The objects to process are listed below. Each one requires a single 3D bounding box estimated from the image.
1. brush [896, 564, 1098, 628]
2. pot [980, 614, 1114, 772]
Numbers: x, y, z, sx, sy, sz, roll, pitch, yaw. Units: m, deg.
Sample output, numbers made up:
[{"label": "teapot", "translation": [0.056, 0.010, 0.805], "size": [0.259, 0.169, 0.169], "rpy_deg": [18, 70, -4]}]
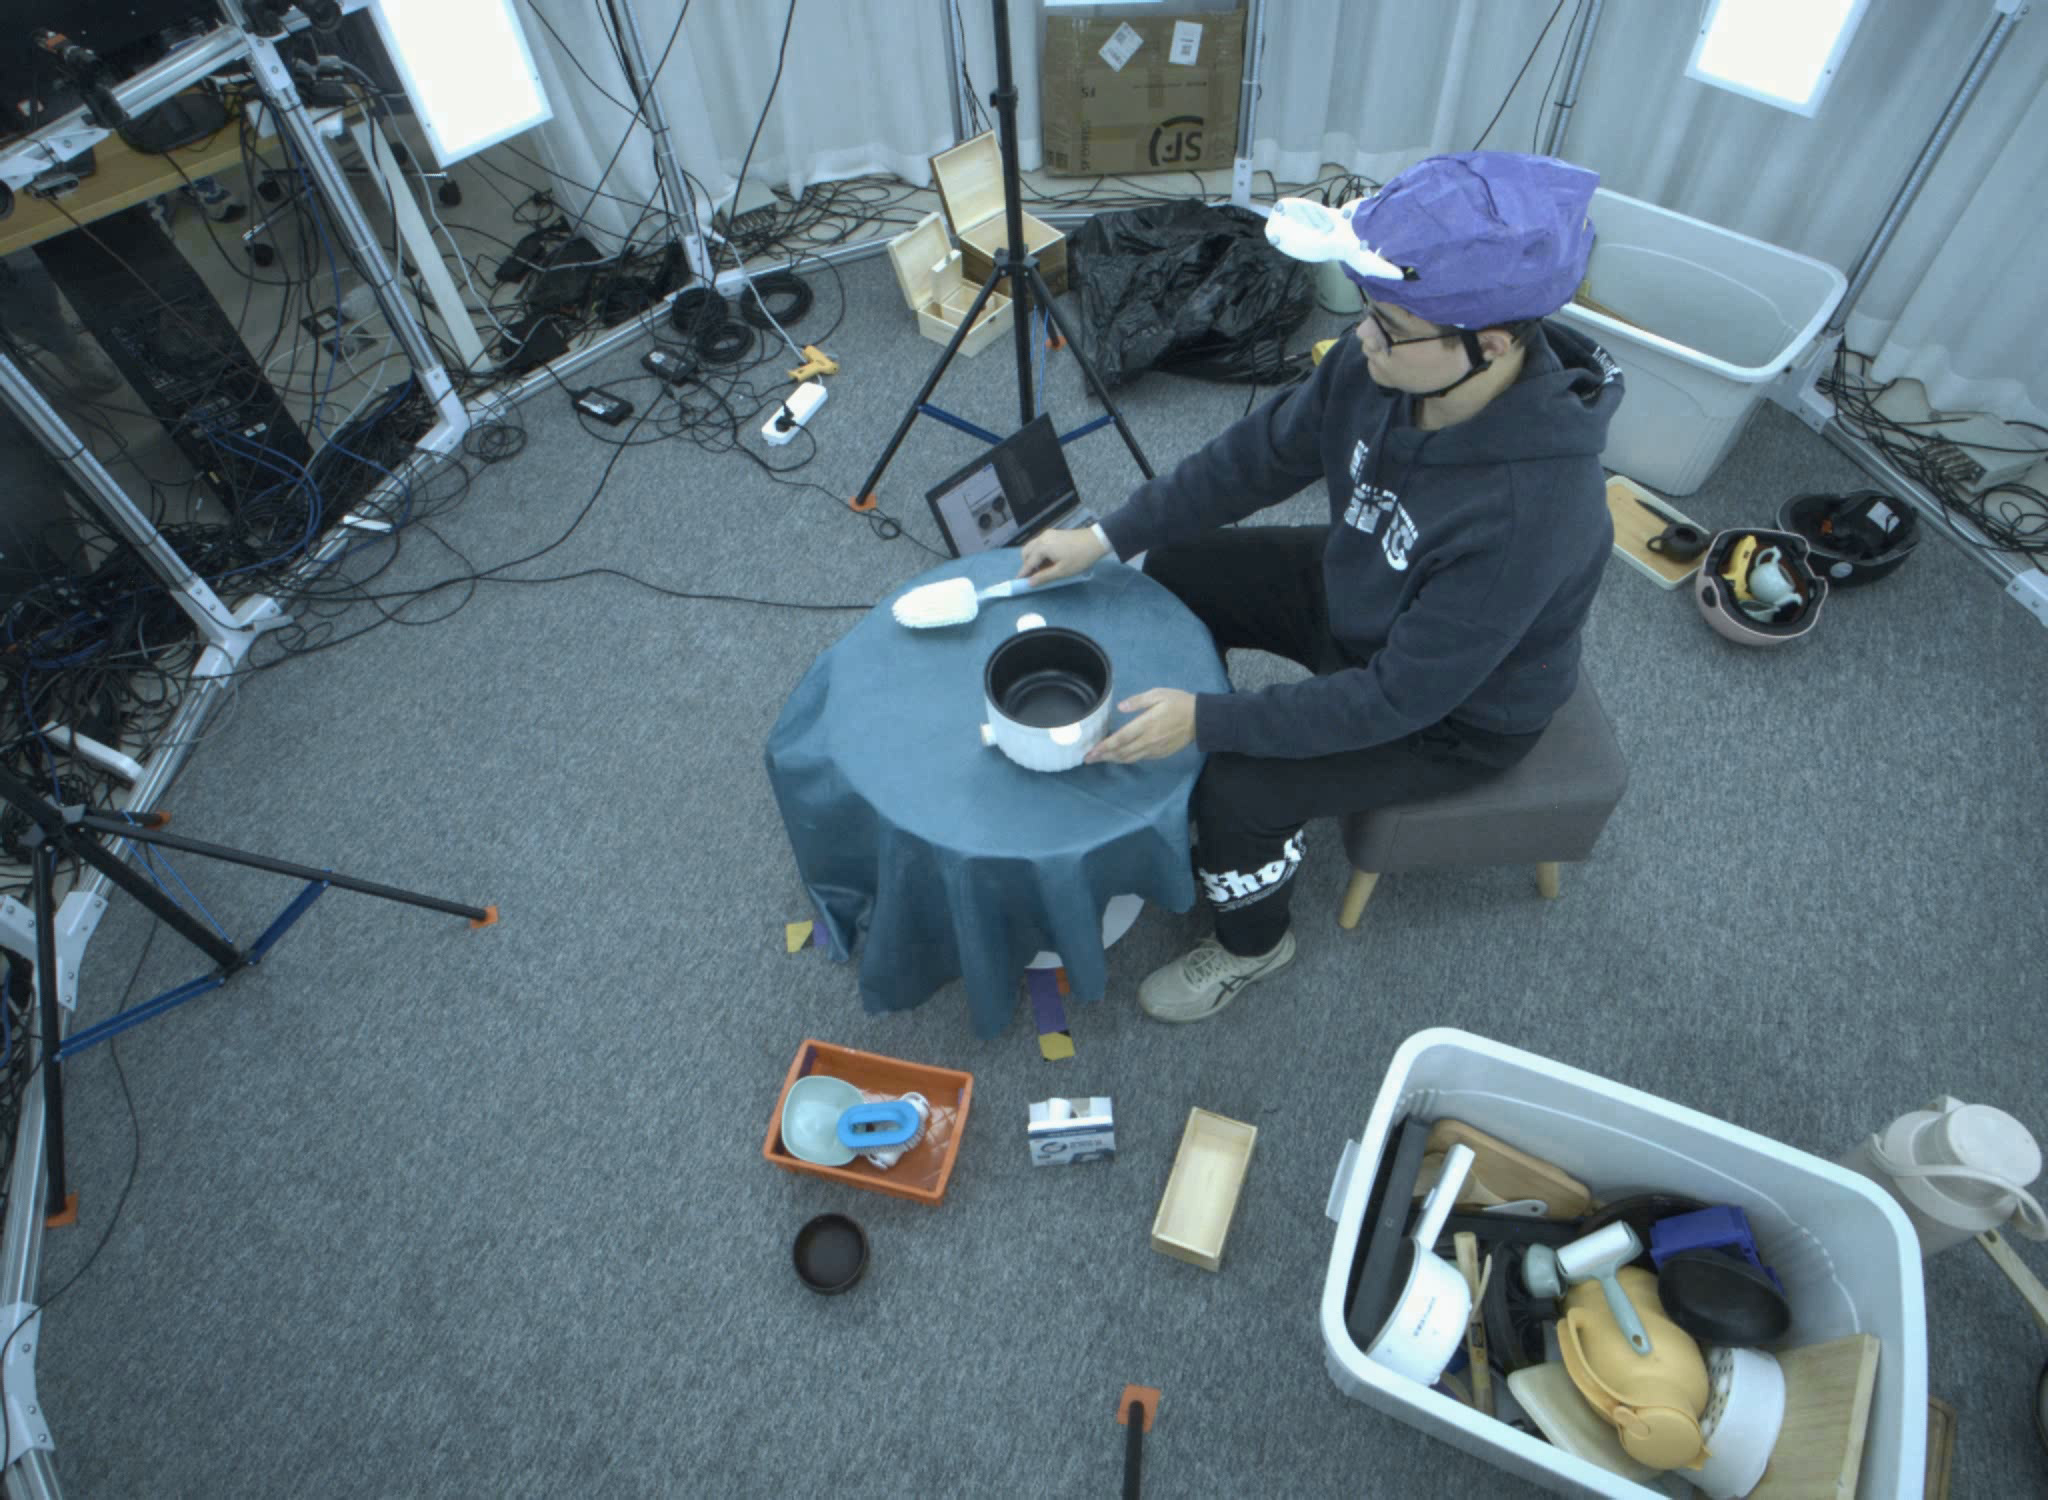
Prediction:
[{"label": "brush", "translation": [-0.040, -0.252, 1.915], "size": [0.327, 0.084, 0.083], "rpy_deg": [-12, 50, -5]}, {"label": "pot", "translation": [0.031, -0.063, 1.746], "size": [0.192, 0.144, 0.236], "rpy_deg": [-11, 54, -9]}]
